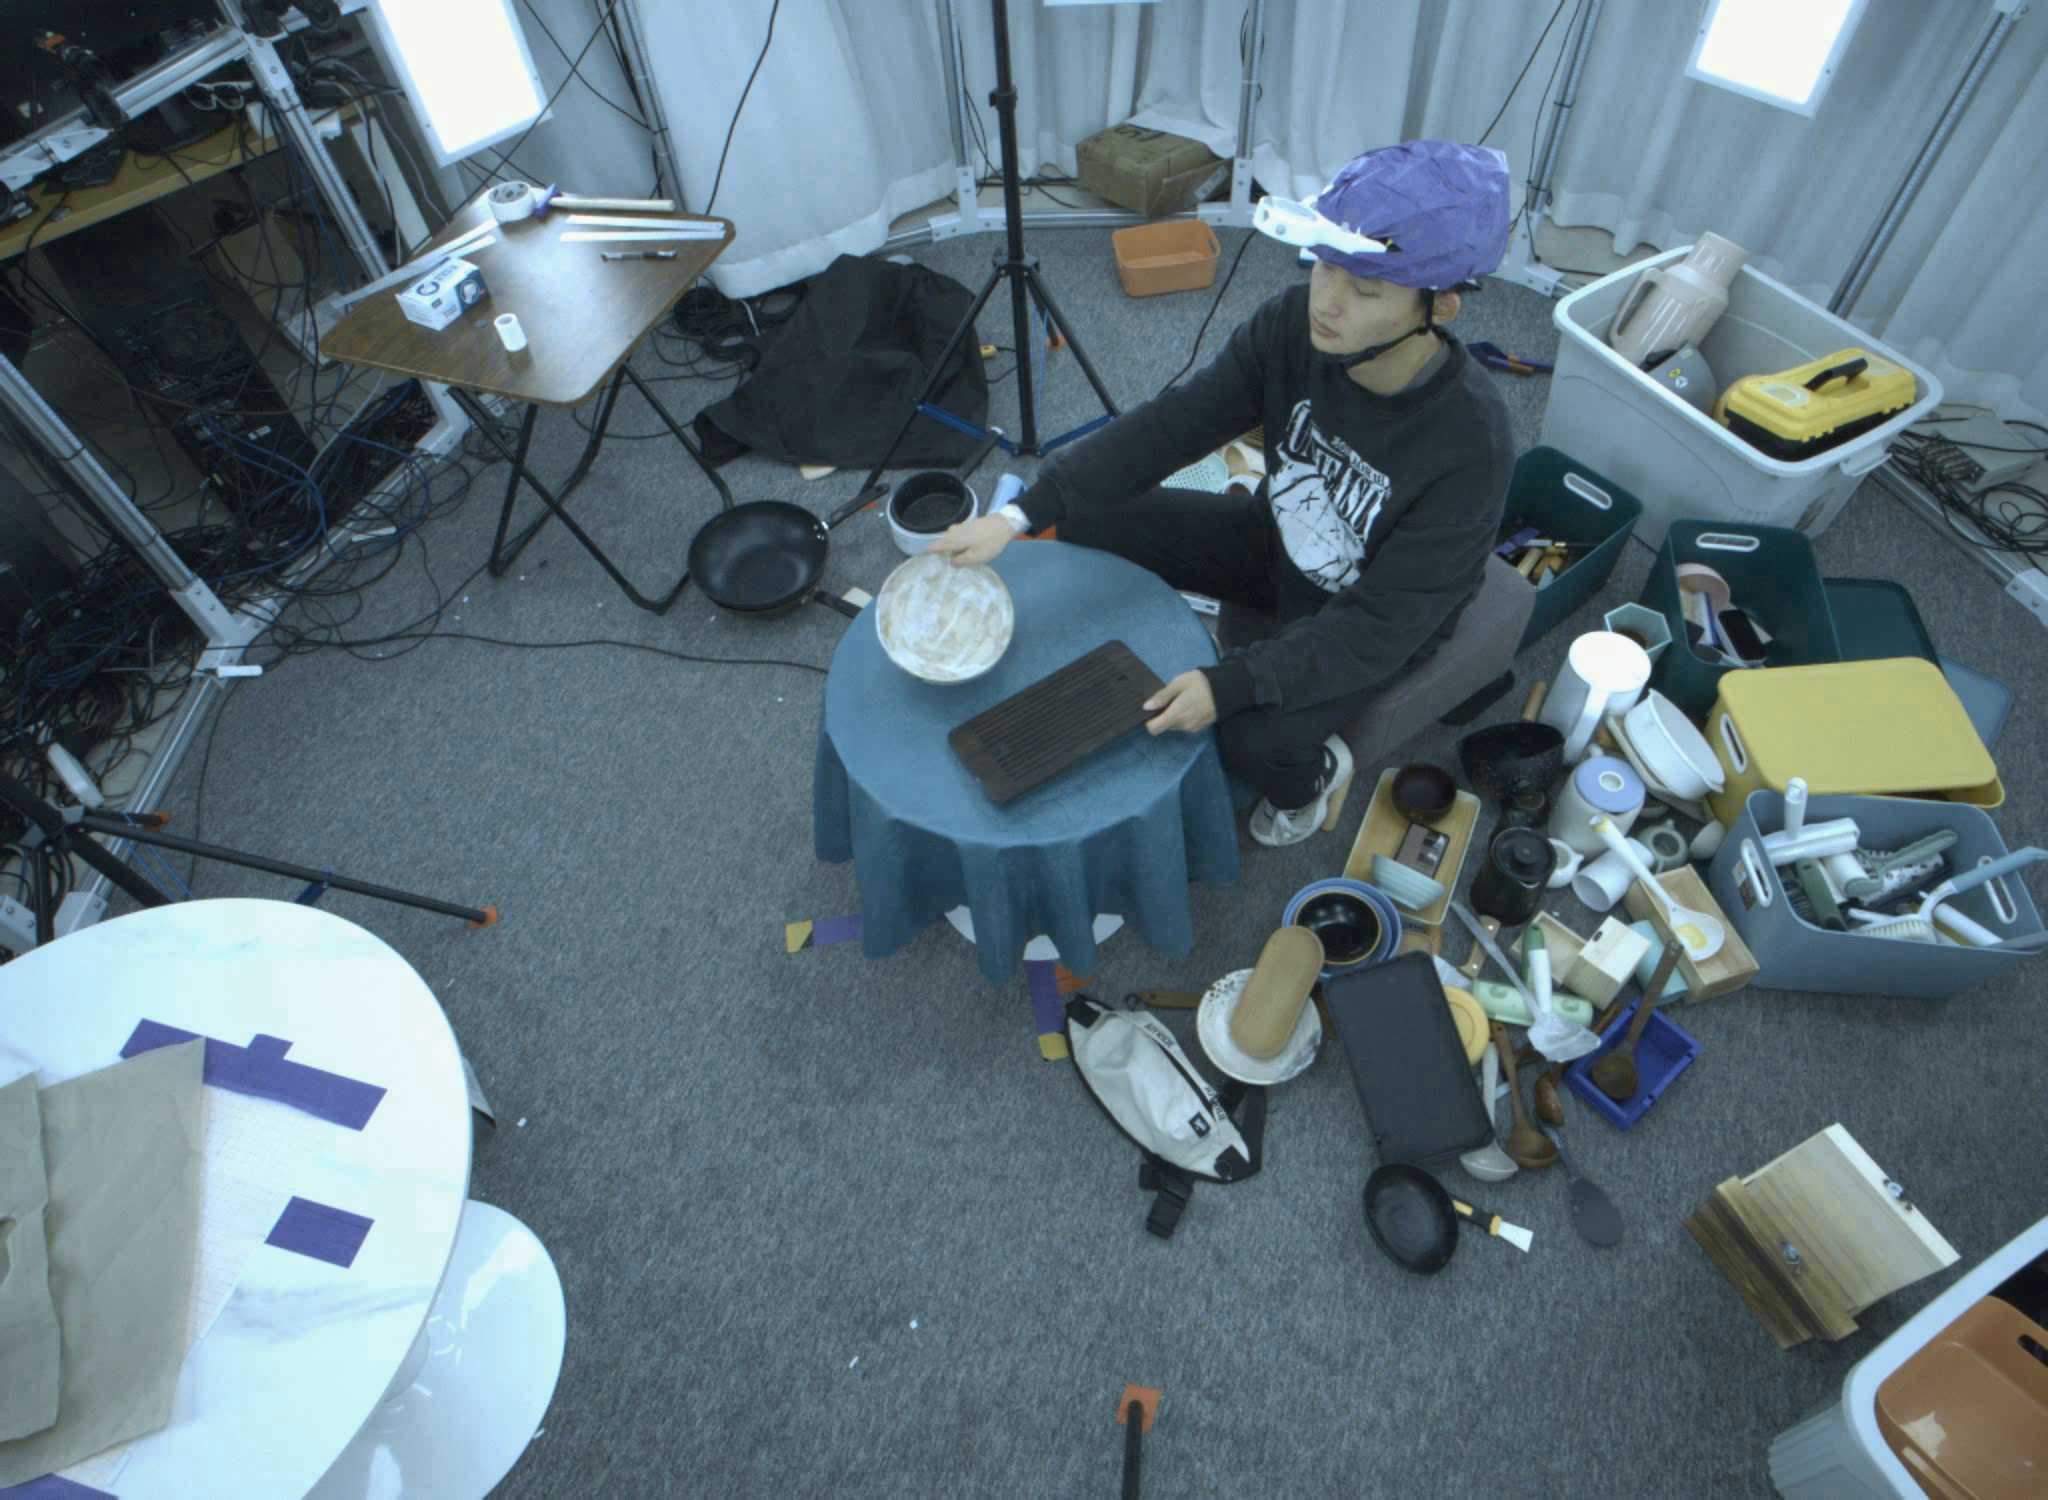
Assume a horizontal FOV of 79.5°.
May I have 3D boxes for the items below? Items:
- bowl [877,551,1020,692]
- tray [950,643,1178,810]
[{"bbox_3d":[-0.115,-0.182,1.835,0.216,0.094,0.214,2,81,-8],"label":"bowl"},{"bbox_3d":[0.058,-0.036,1.784,0.308,0.019,0.166,-30,51,-13],"label":"tray"}]
